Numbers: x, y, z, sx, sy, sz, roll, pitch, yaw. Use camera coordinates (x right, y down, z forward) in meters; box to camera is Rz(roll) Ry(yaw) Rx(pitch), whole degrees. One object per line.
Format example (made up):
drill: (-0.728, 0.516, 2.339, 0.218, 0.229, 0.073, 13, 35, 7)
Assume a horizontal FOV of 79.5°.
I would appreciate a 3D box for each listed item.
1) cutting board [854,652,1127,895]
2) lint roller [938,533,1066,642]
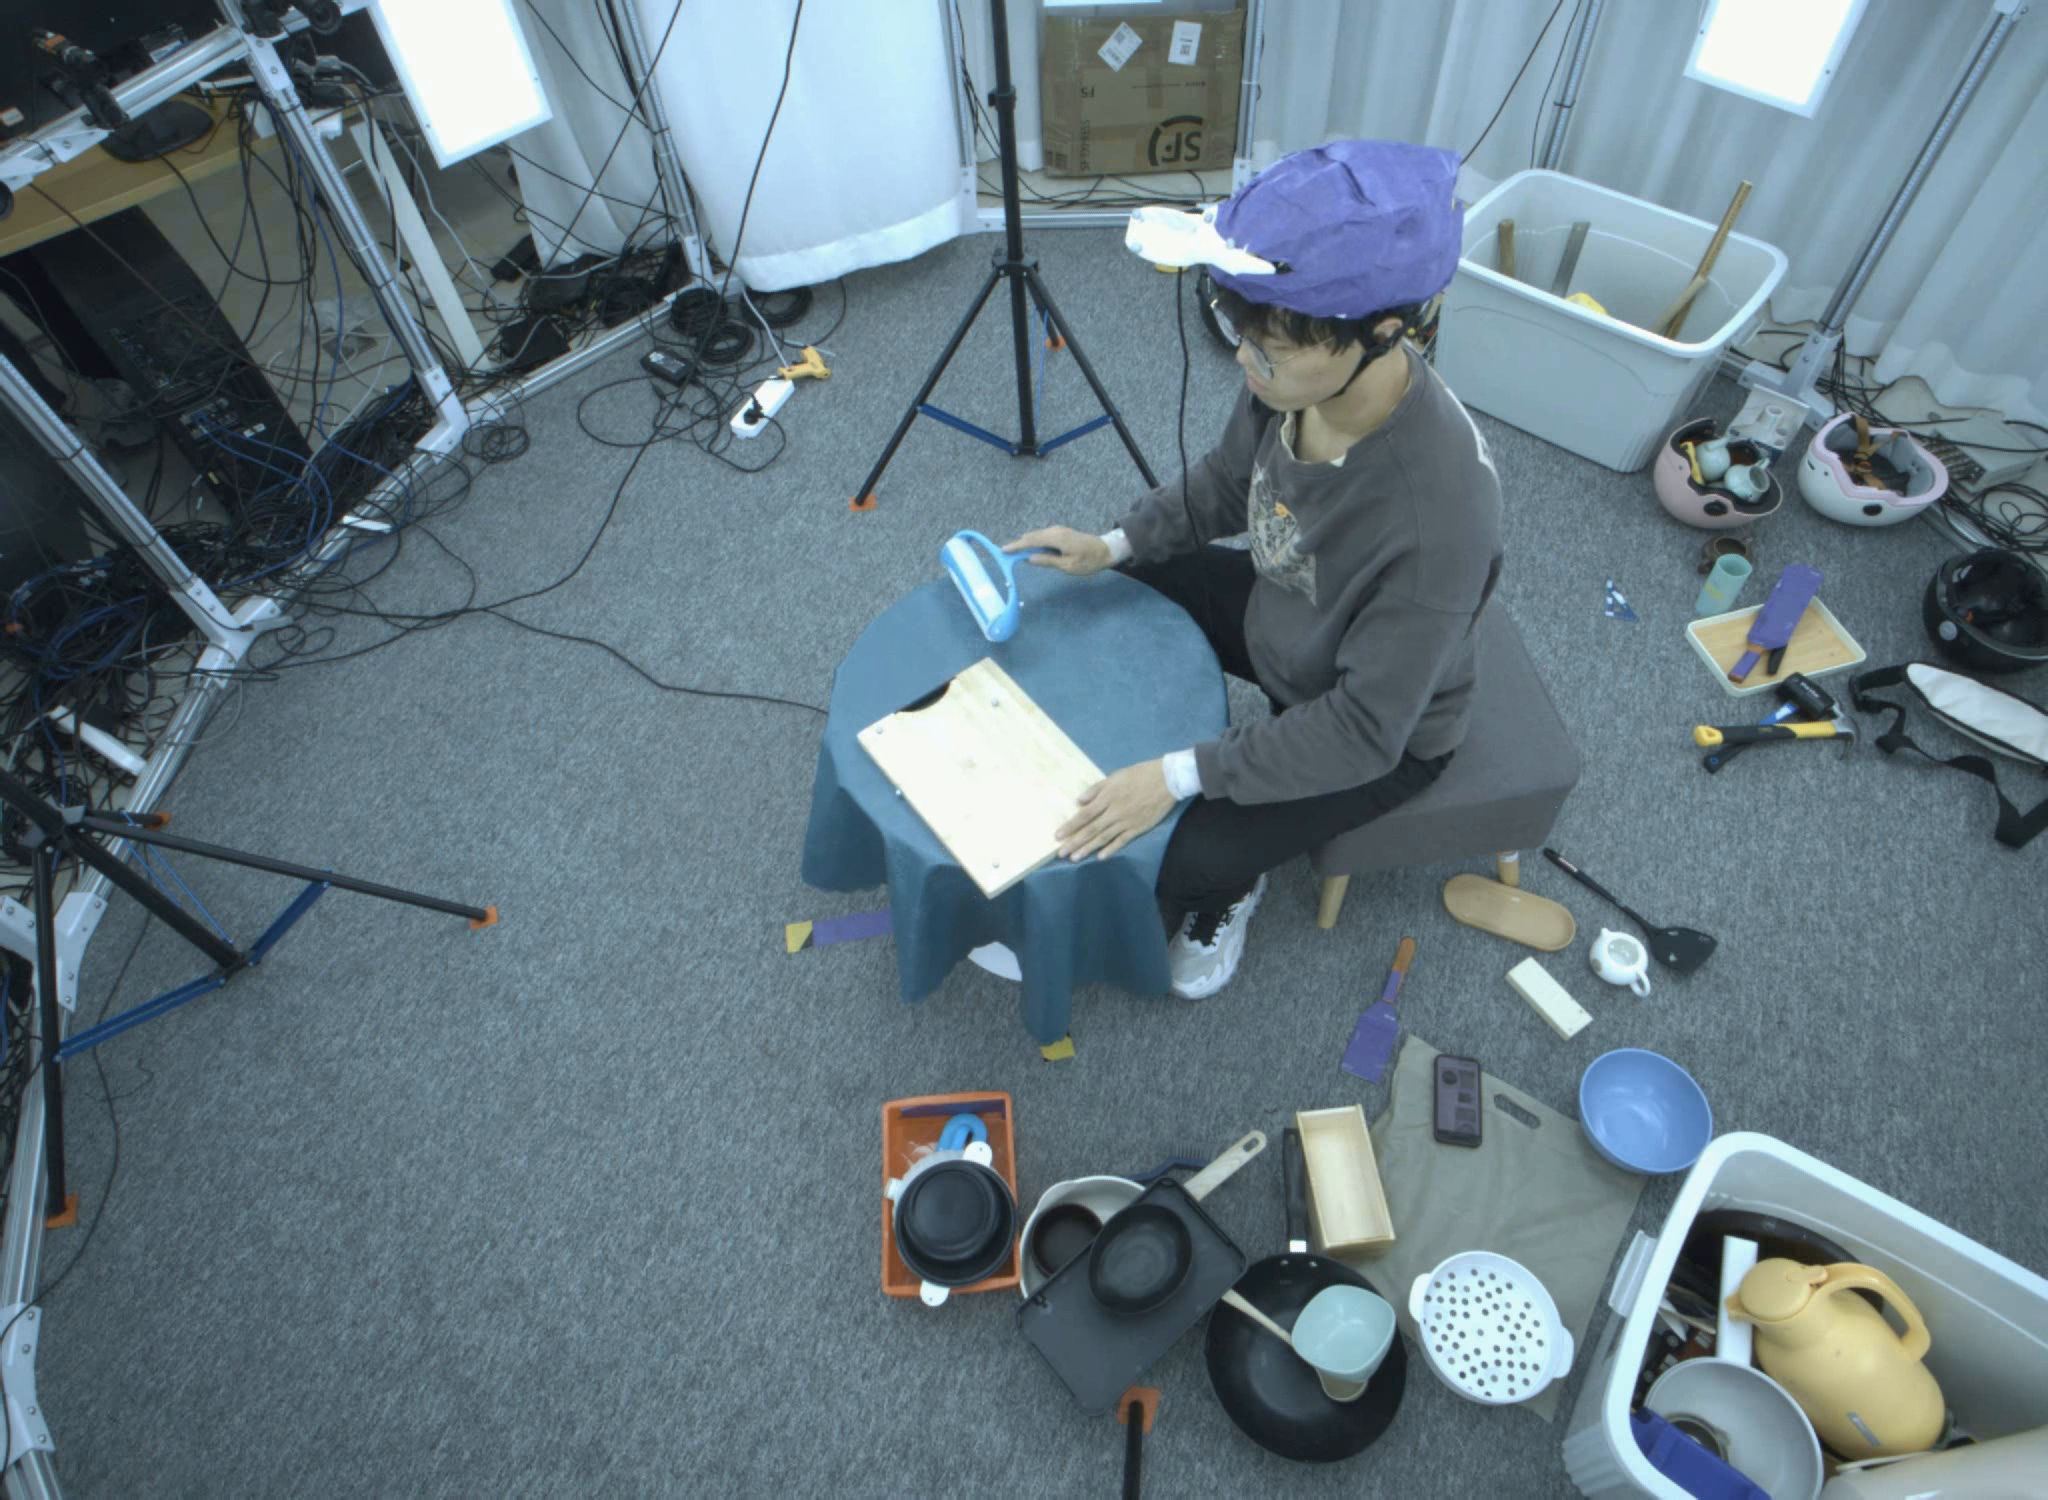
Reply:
cutting board: (-0.053, 0.025, 1.759, 0.253, 0.024, 0.342, -32, 59, -20)
lint roller: (-0.024, -0.279, 1.905, 0.180, 0.069, 0.224, -31, 52, -4)
